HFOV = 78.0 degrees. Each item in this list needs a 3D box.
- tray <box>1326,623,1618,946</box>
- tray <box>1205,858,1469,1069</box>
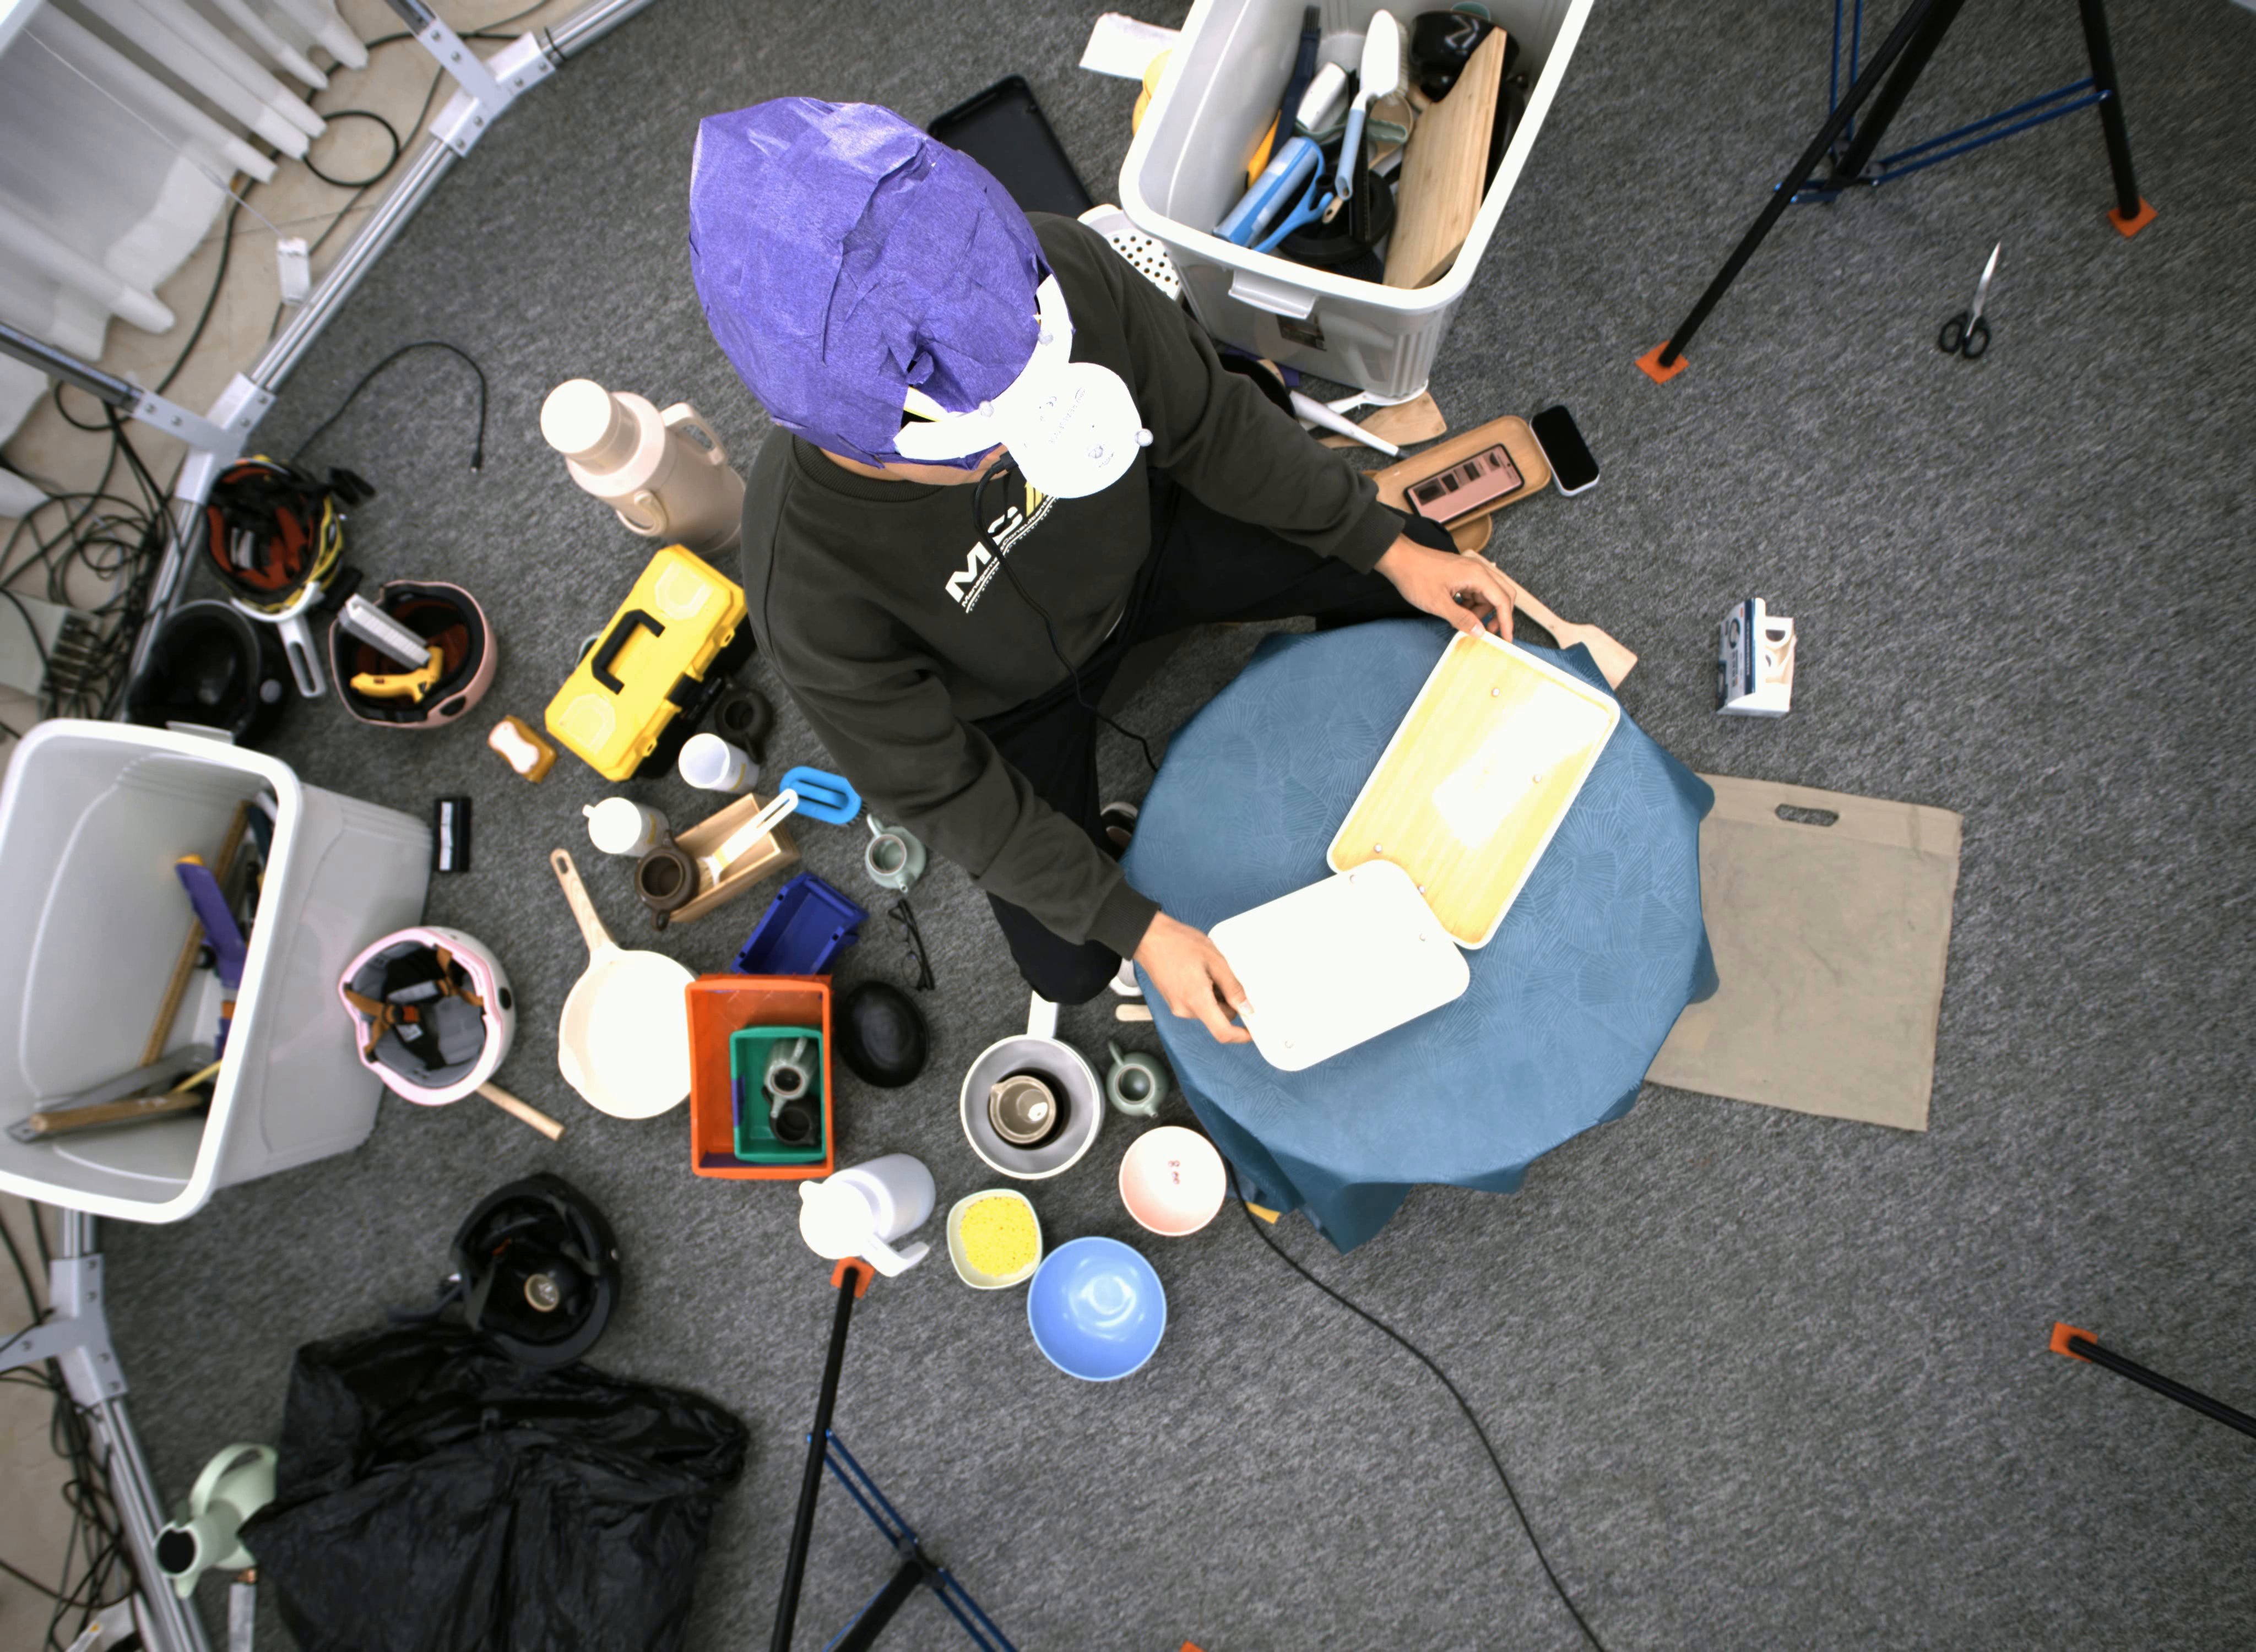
[{"bbox_3d":[0.358,-0.046,1.437,0.191,0.027,0.301,31,92,11],"label":"tray"},{"bbox_3d":[0.208,0.134,1.382,0.238,0.018,0.169,-21,65,-17],"label":"tray"}]
